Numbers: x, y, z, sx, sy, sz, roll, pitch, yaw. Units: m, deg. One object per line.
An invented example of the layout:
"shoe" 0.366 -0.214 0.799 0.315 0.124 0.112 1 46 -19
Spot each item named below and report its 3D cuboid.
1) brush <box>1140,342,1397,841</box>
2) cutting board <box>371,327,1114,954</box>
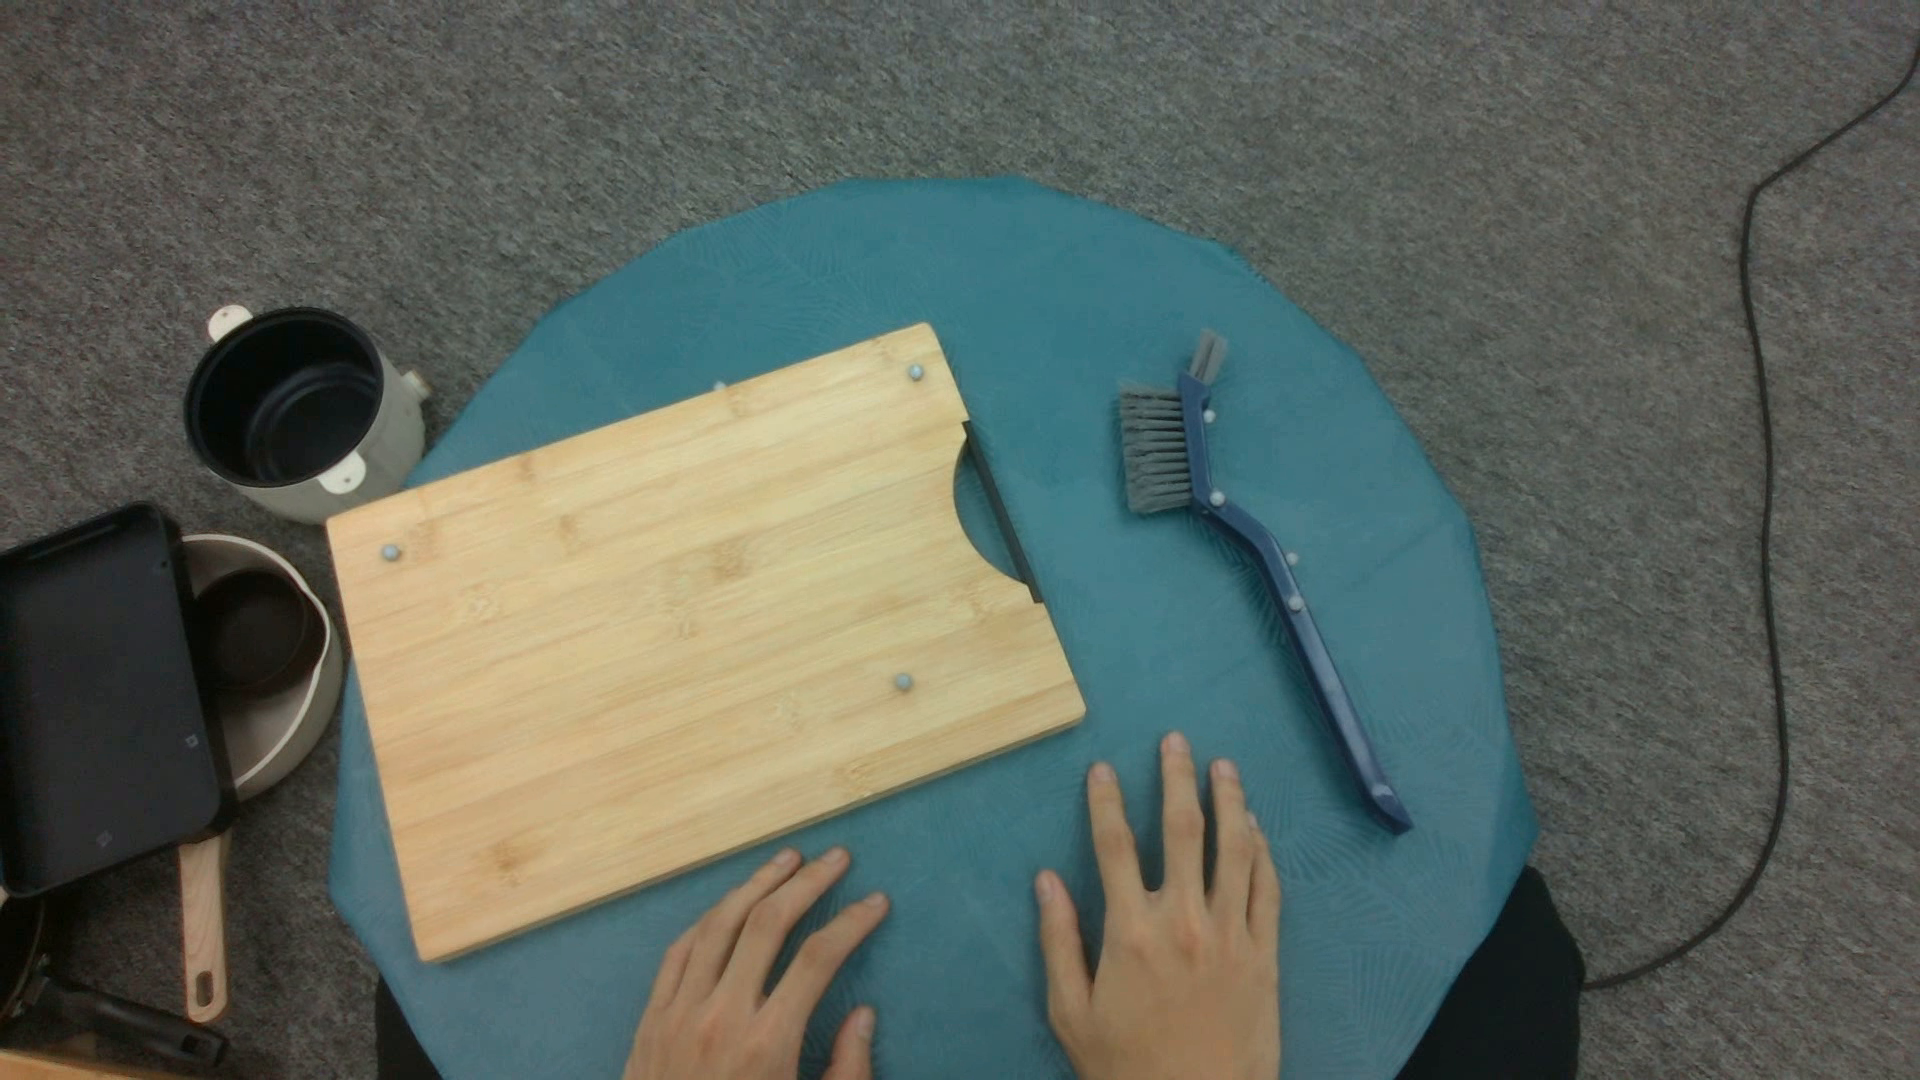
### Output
"brush" 0.175 0.021 0.724 0.096 0.033 0.273 -26 69 -8
"cutting board" -0.125 0.042 0.734 0.349 0.023 0.251 -20 70 -6
